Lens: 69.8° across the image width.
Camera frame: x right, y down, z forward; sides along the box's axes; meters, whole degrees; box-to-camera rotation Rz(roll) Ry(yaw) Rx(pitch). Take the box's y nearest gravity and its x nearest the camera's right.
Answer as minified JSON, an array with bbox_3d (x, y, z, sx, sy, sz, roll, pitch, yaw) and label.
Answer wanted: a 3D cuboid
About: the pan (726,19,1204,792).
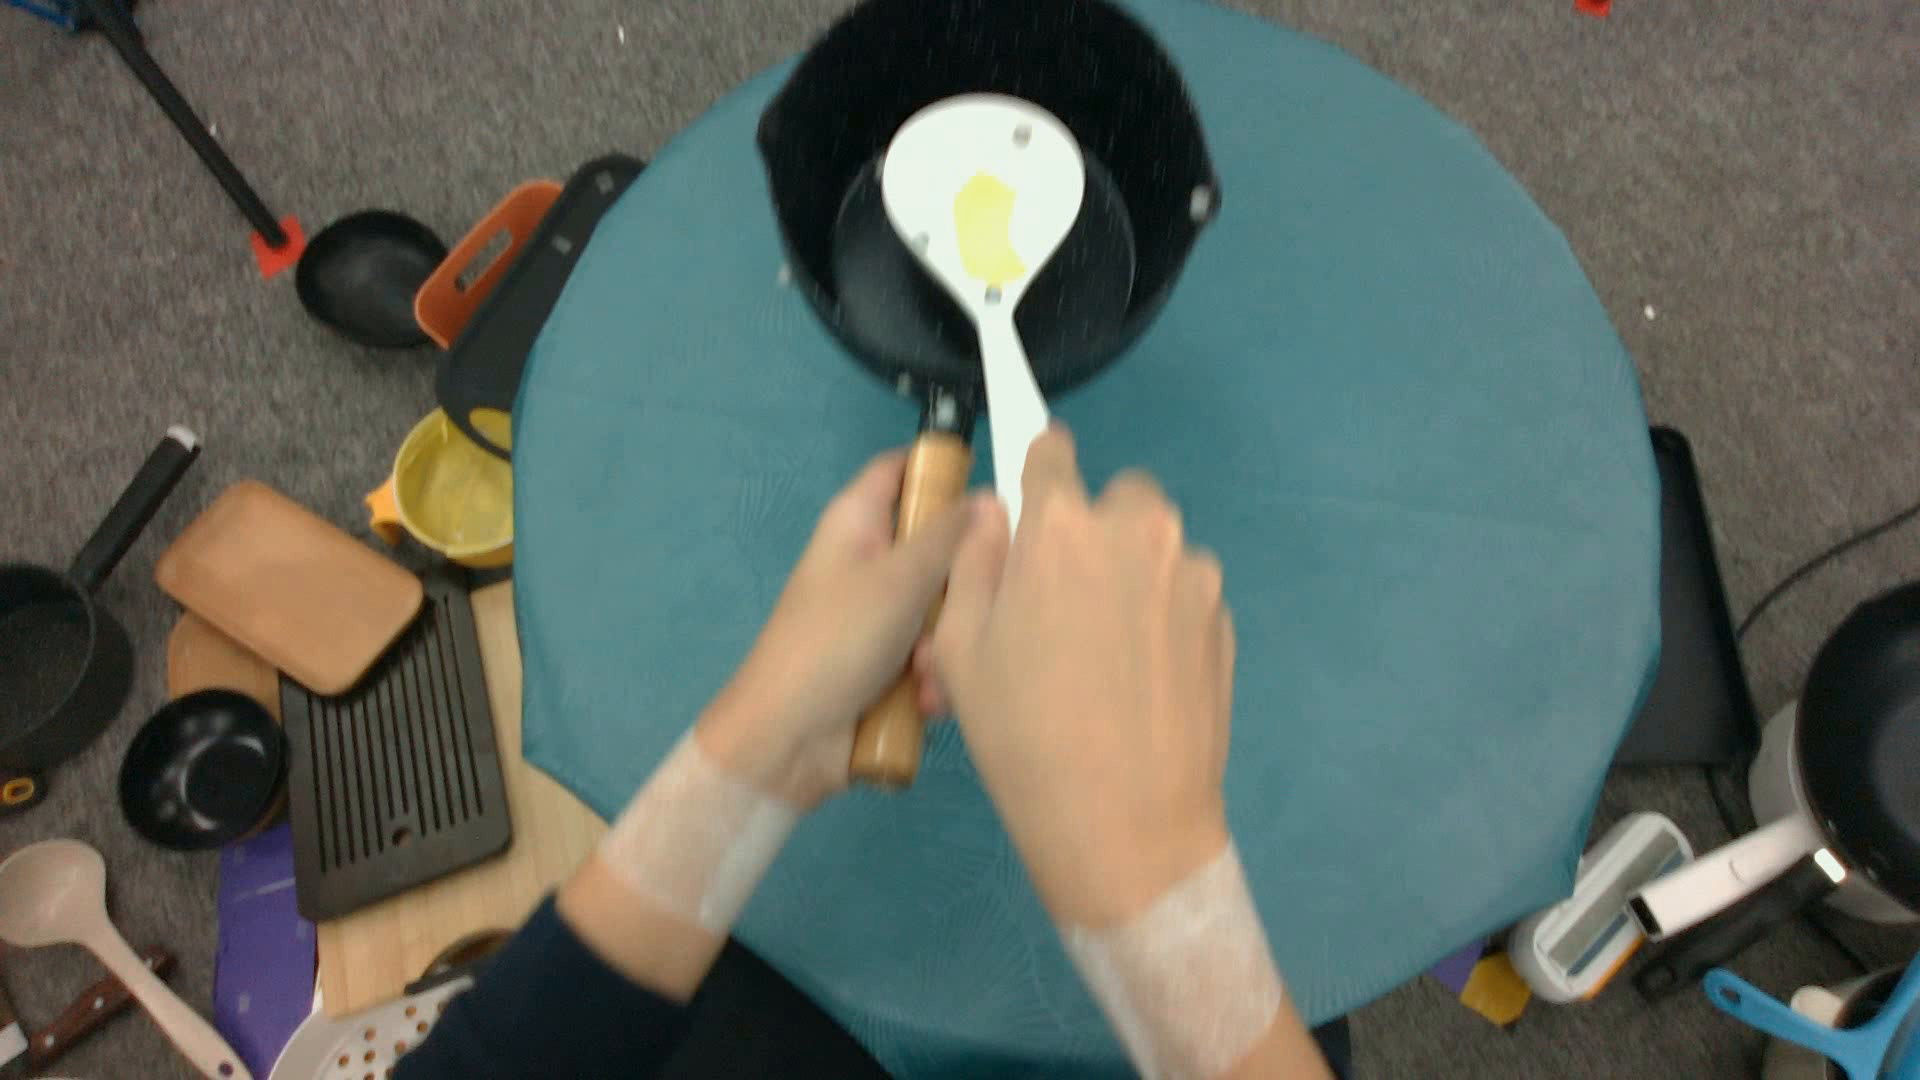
[{"bbox_3d":[-0.009,-0.058,0.589,0.207,0.108,0.344,8,72,-1],"label":"pan"}]

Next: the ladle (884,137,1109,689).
[{"bbox_3d":[0.020,-0.068,0.537,0.090,0.069,0.294,4,37,-10],"label":"ladle"}]
